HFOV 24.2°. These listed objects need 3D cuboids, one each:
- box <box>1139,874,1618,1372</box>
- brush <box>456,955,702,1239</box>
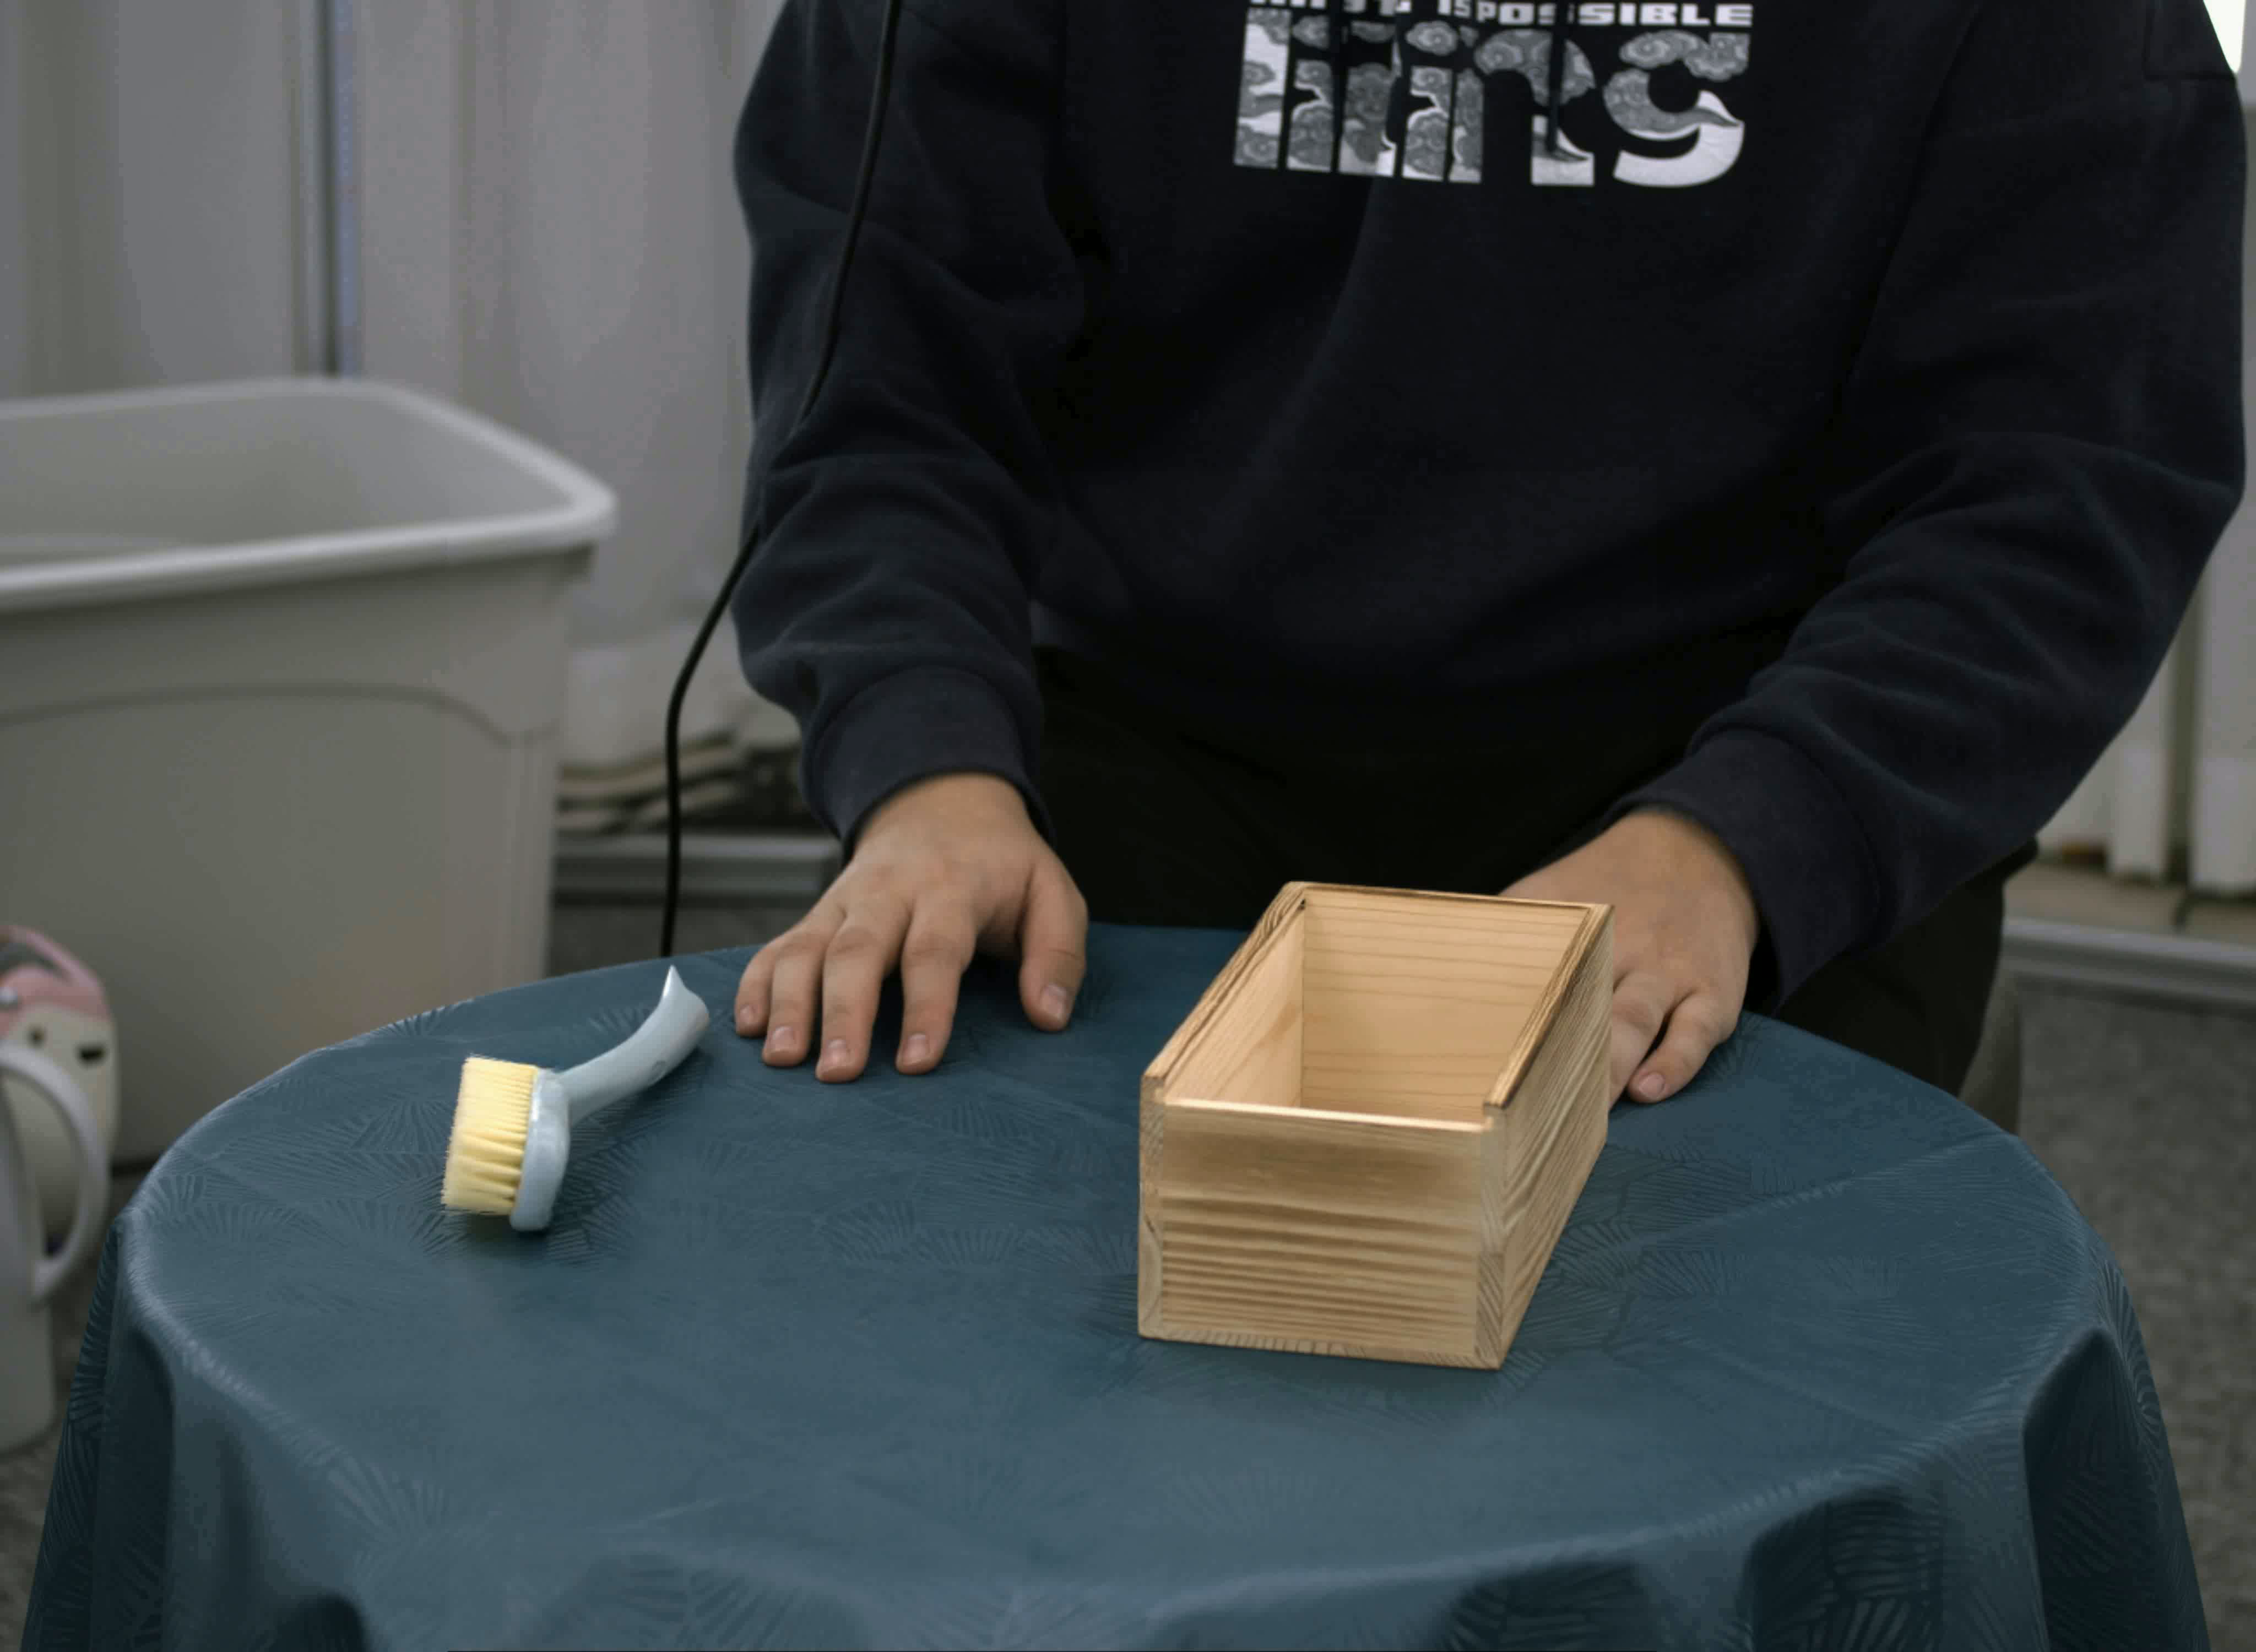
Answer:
[{"bbox_3d":[0.079,0.085,1.579,0.107,0.081,0.211,4,16,12],"label":"box"},{"bbox_3d":[-0.176,0.079,1.671,0.049,0.038,0.228,11,16,5],"label":"brush"}]
